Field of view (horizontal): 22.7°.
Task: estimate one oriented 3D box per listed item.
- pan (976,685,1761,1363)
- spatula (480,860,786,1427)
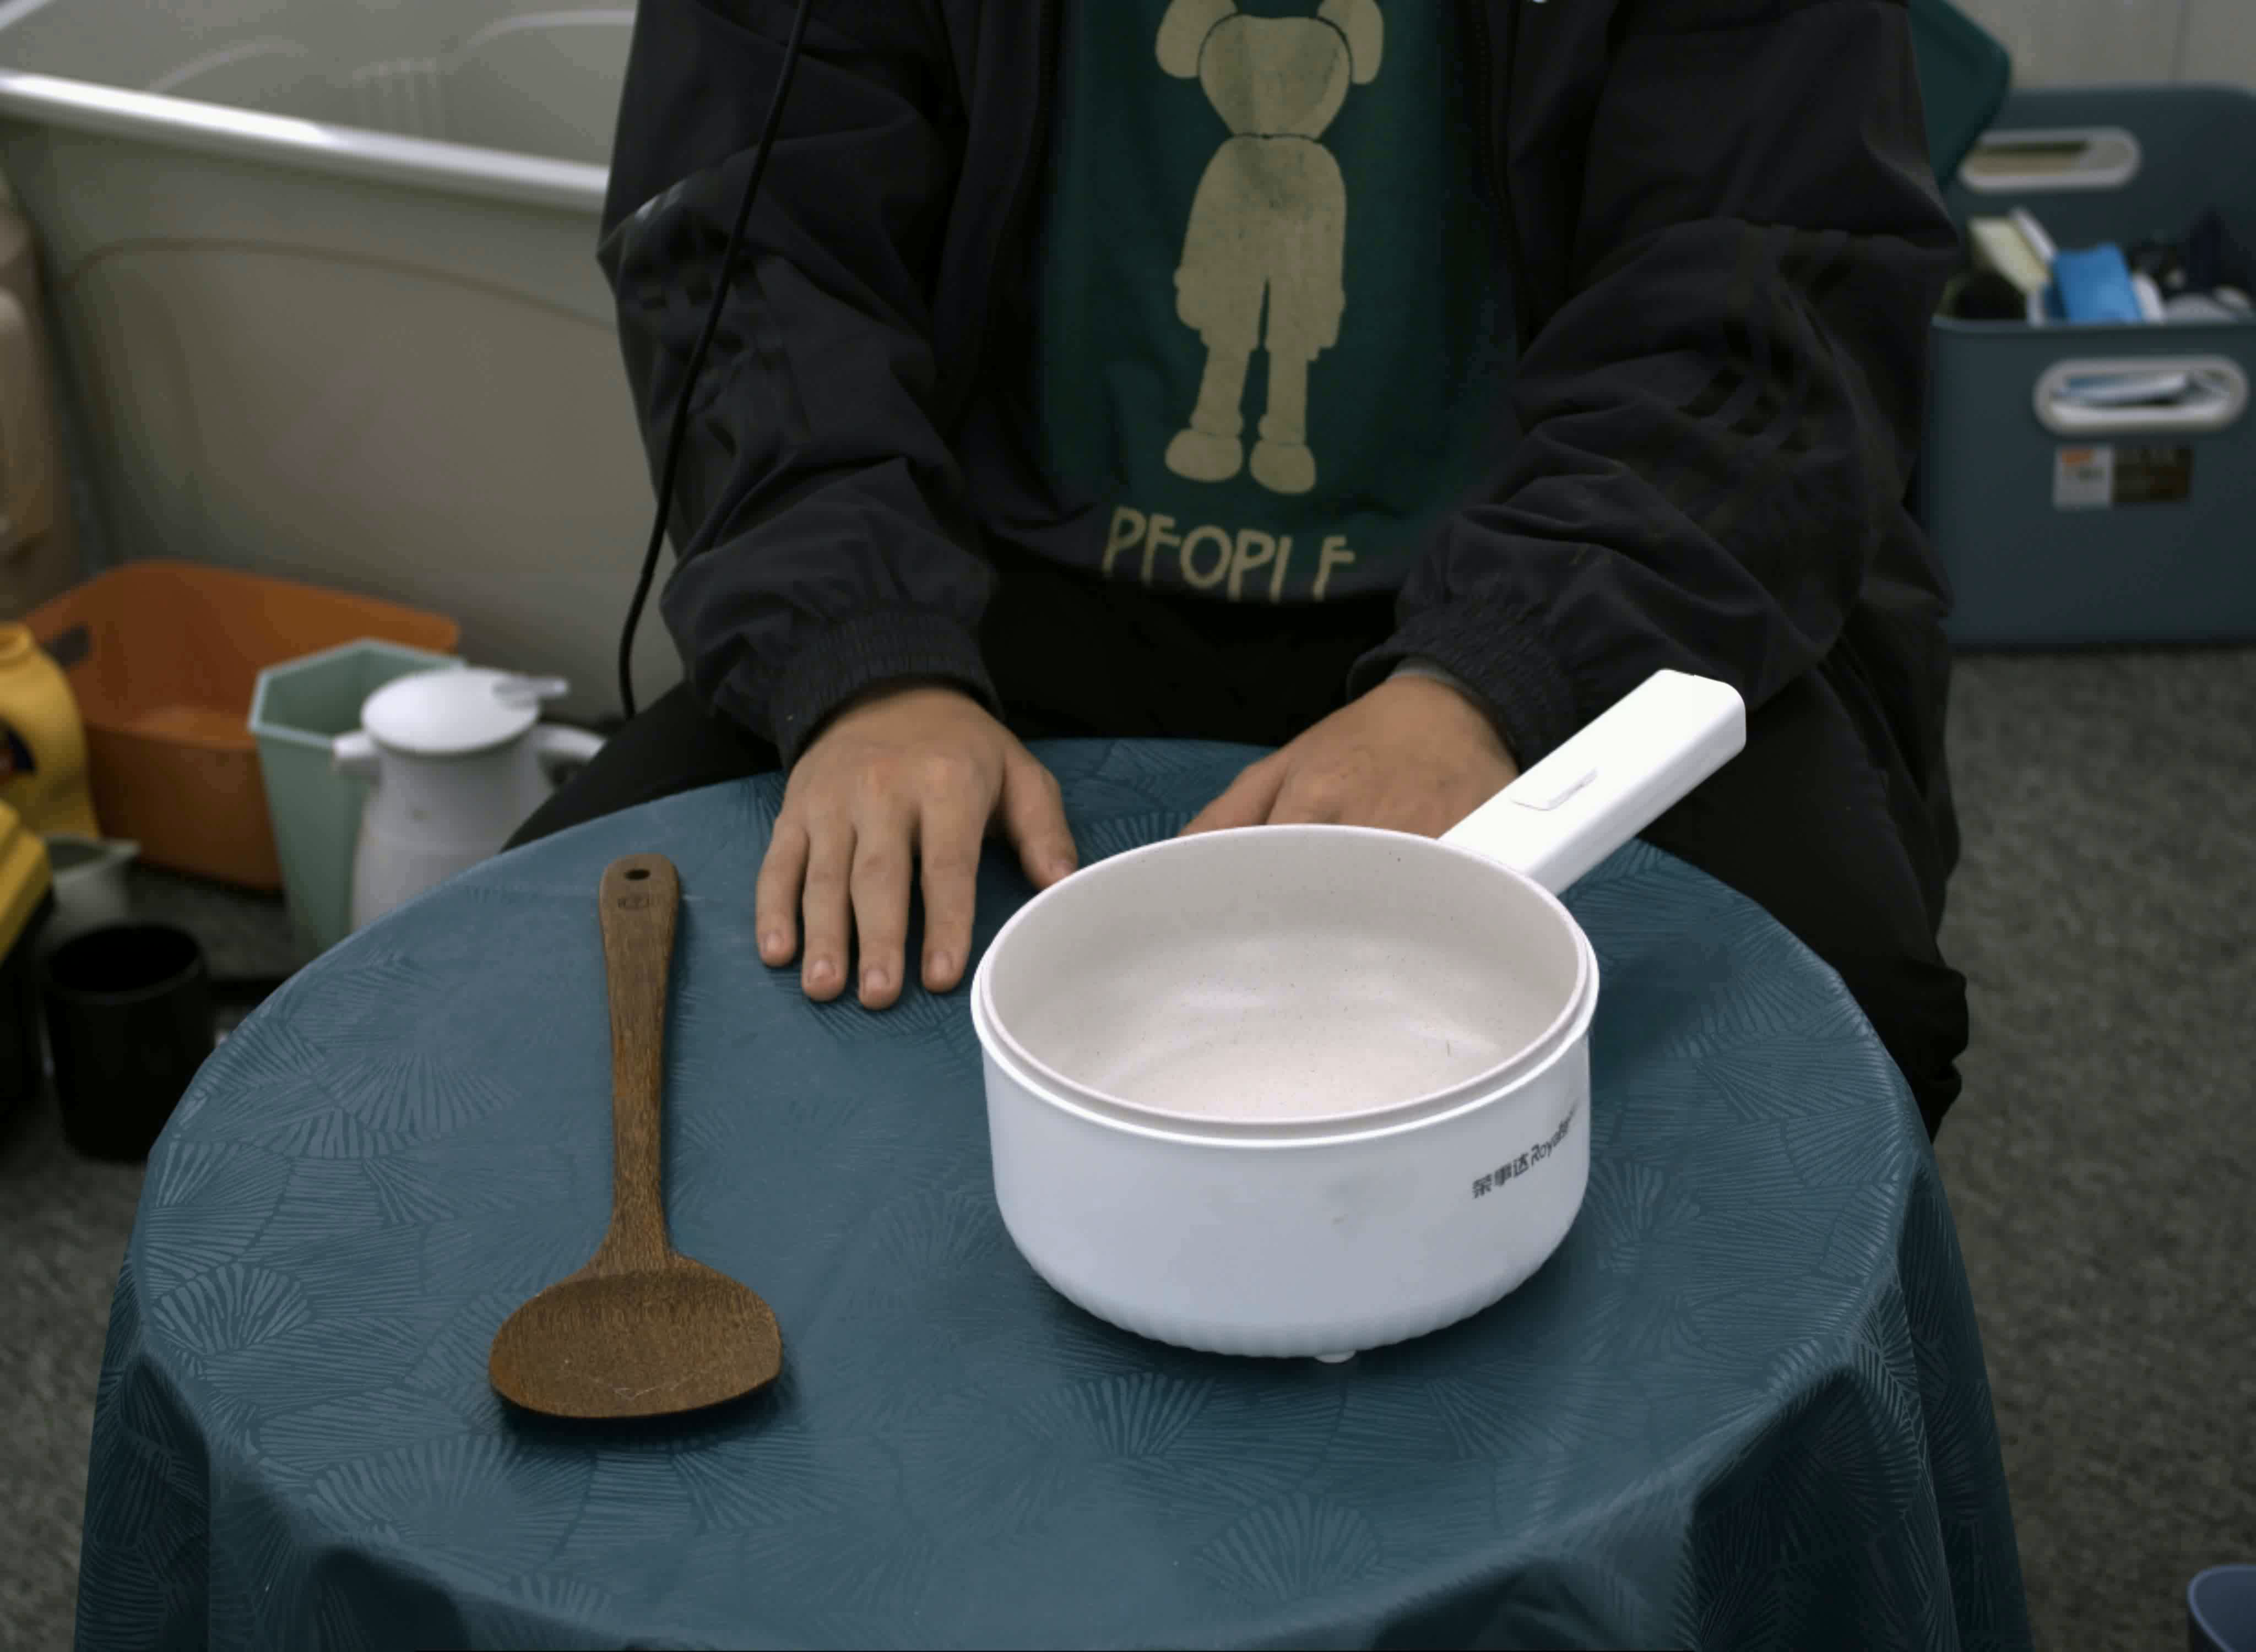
[{"bbox_3d":[0.099,0.061,1.864,0.200,0.101,0.360,15,31,34],"label":"pan"},{"bbox_3d":[-0.167,0.099,1.903,0.096,0.015,0.391,-4,27,-3],"label":"spatula"}]
